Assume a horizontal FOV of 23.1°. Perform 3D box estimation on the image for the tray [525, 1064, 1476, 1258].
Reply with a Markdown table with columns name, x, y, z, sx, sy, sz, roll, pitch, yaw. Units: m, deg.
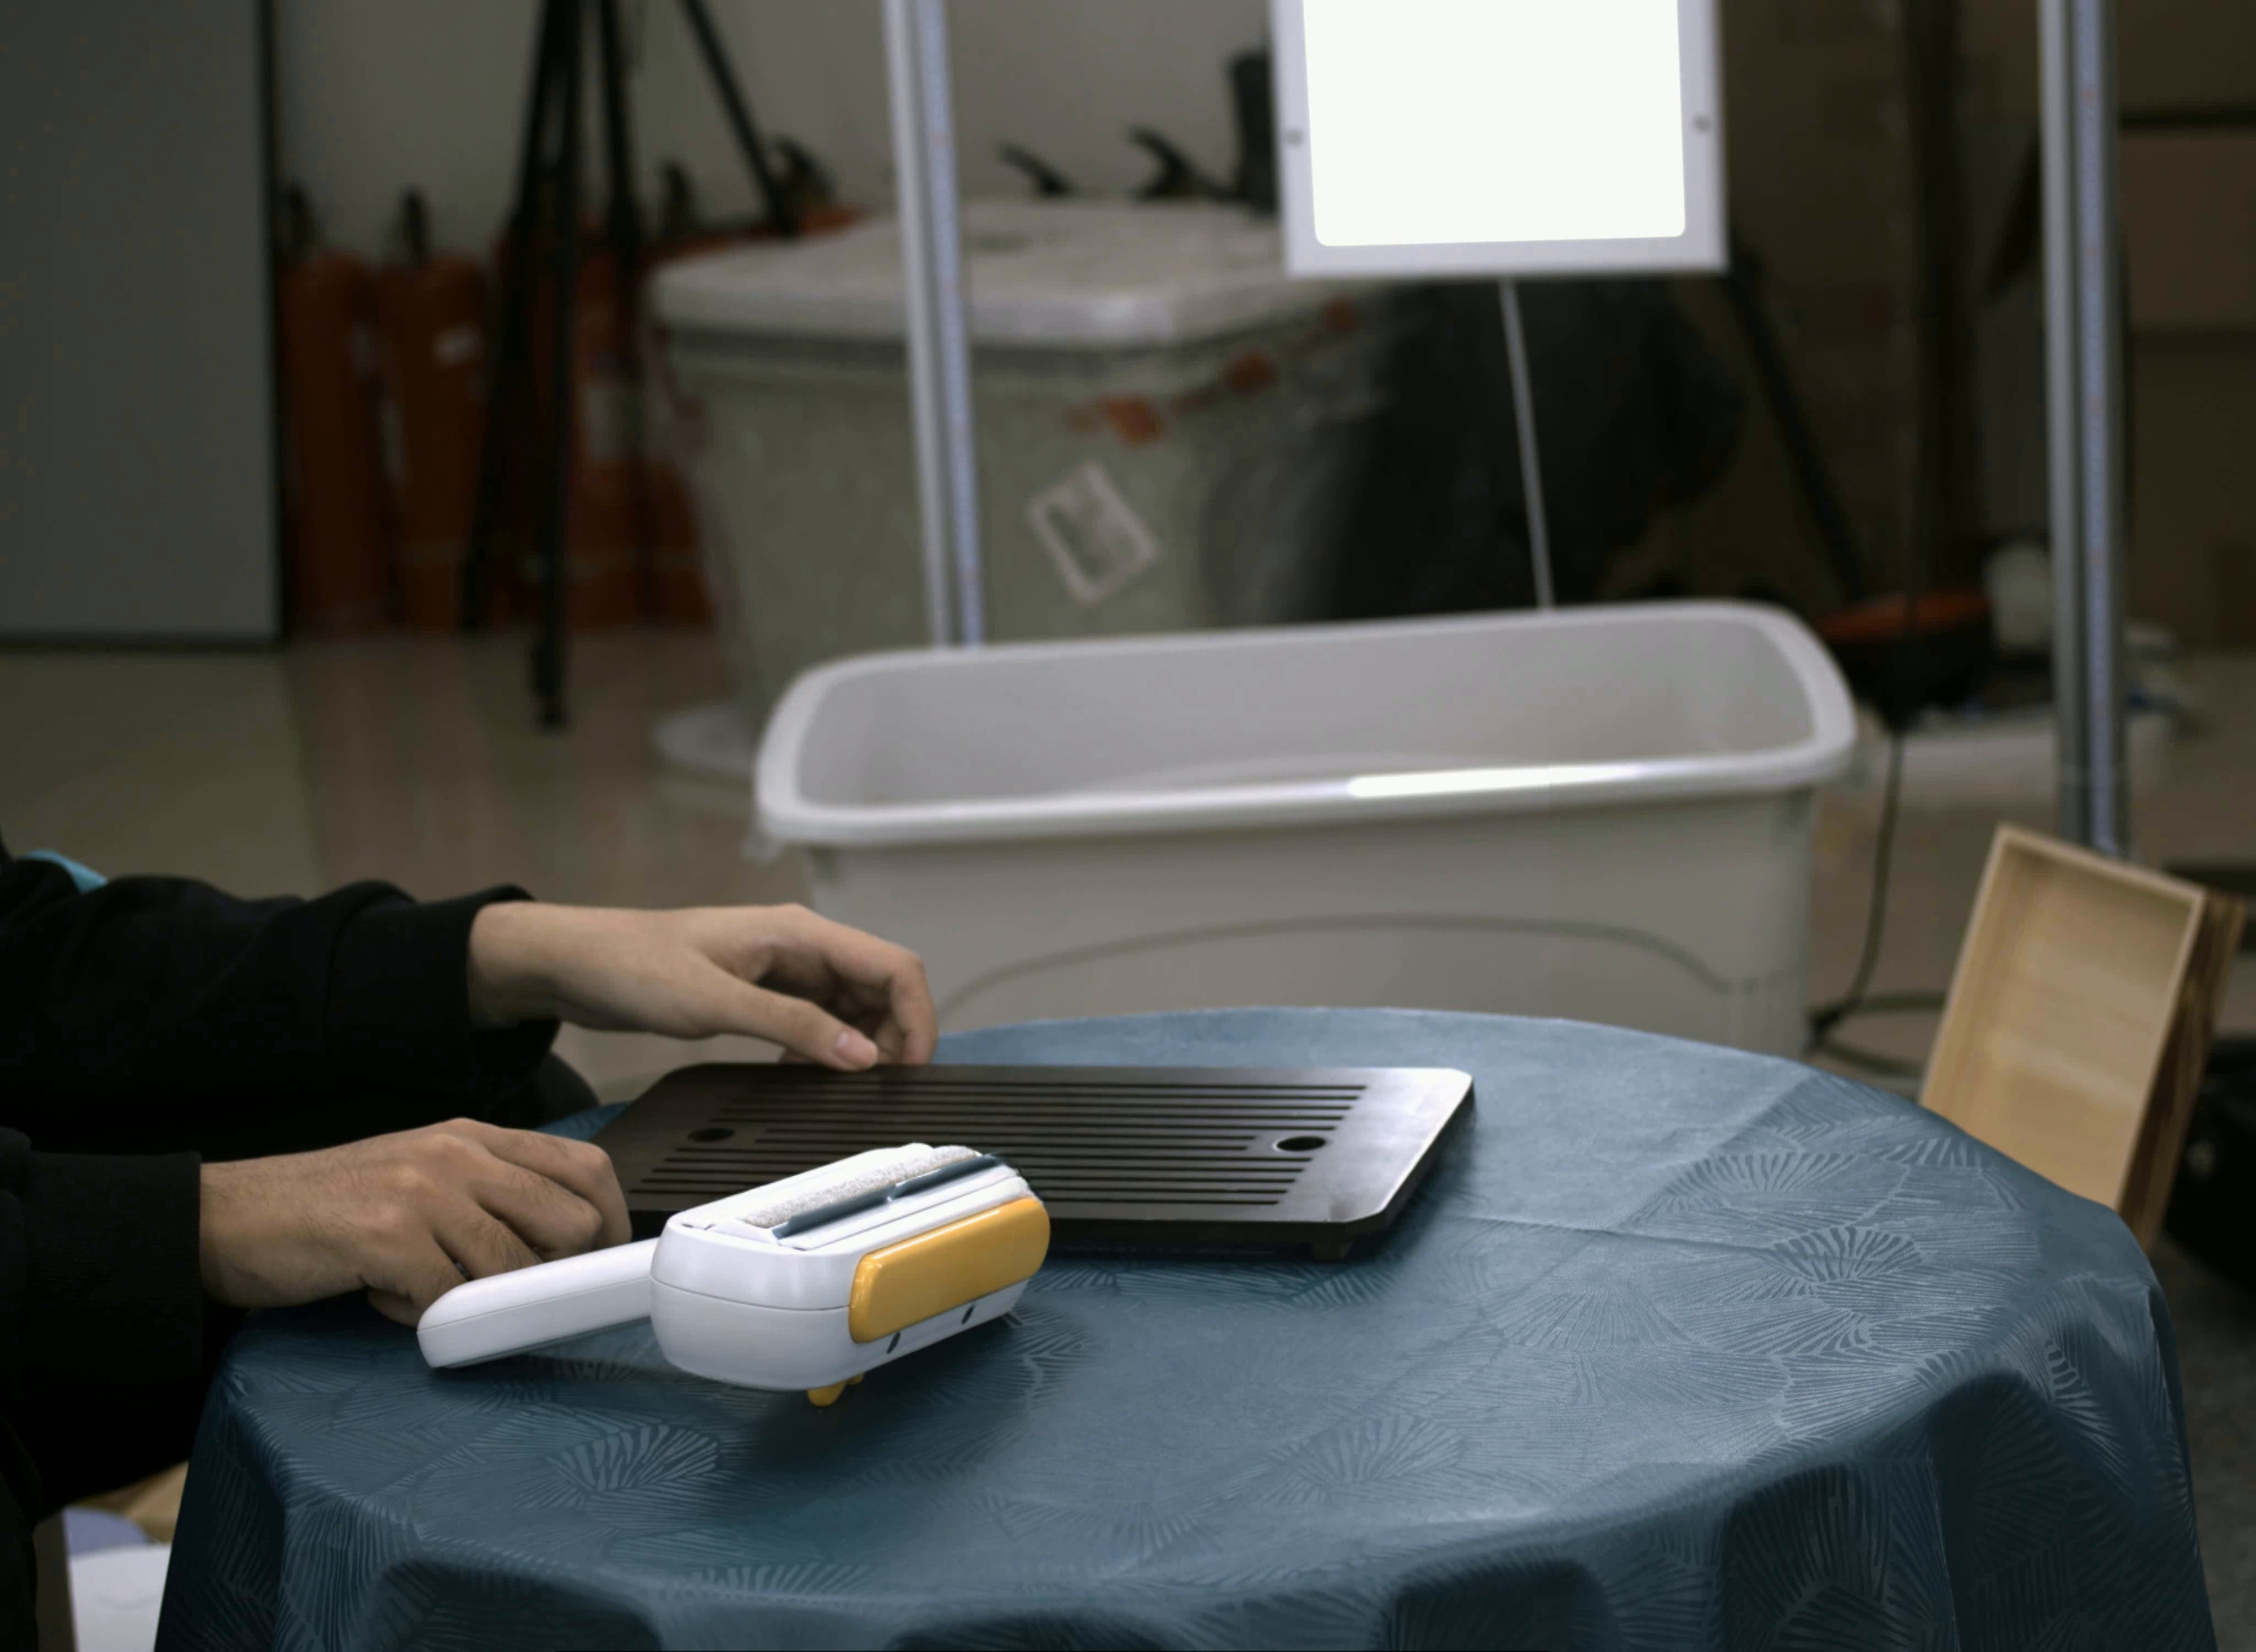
| name | x | y | z | sx | sy | sz | roll | pitch | yaw |
| --- | --- | --- | --- | --- | --- | --- | --- | --- | --- |
| tray | -0.042 | 0.115 | 1.919 | 0.309 | 0.019 | 0.167 | -1 | 15 | 18 |

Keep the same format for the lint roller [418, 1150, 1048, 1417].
| name | x | y | z | sx | sy | sz | roll | pitch | yaw |
| --- | --- | --- | --- | --- | --- | --- | --- | --- | --- |
| lint roller | -0.140 | 0.143 | 1.737 | 0.196 | 0.074 | 0.189 | 0 | 9 | 27 |
